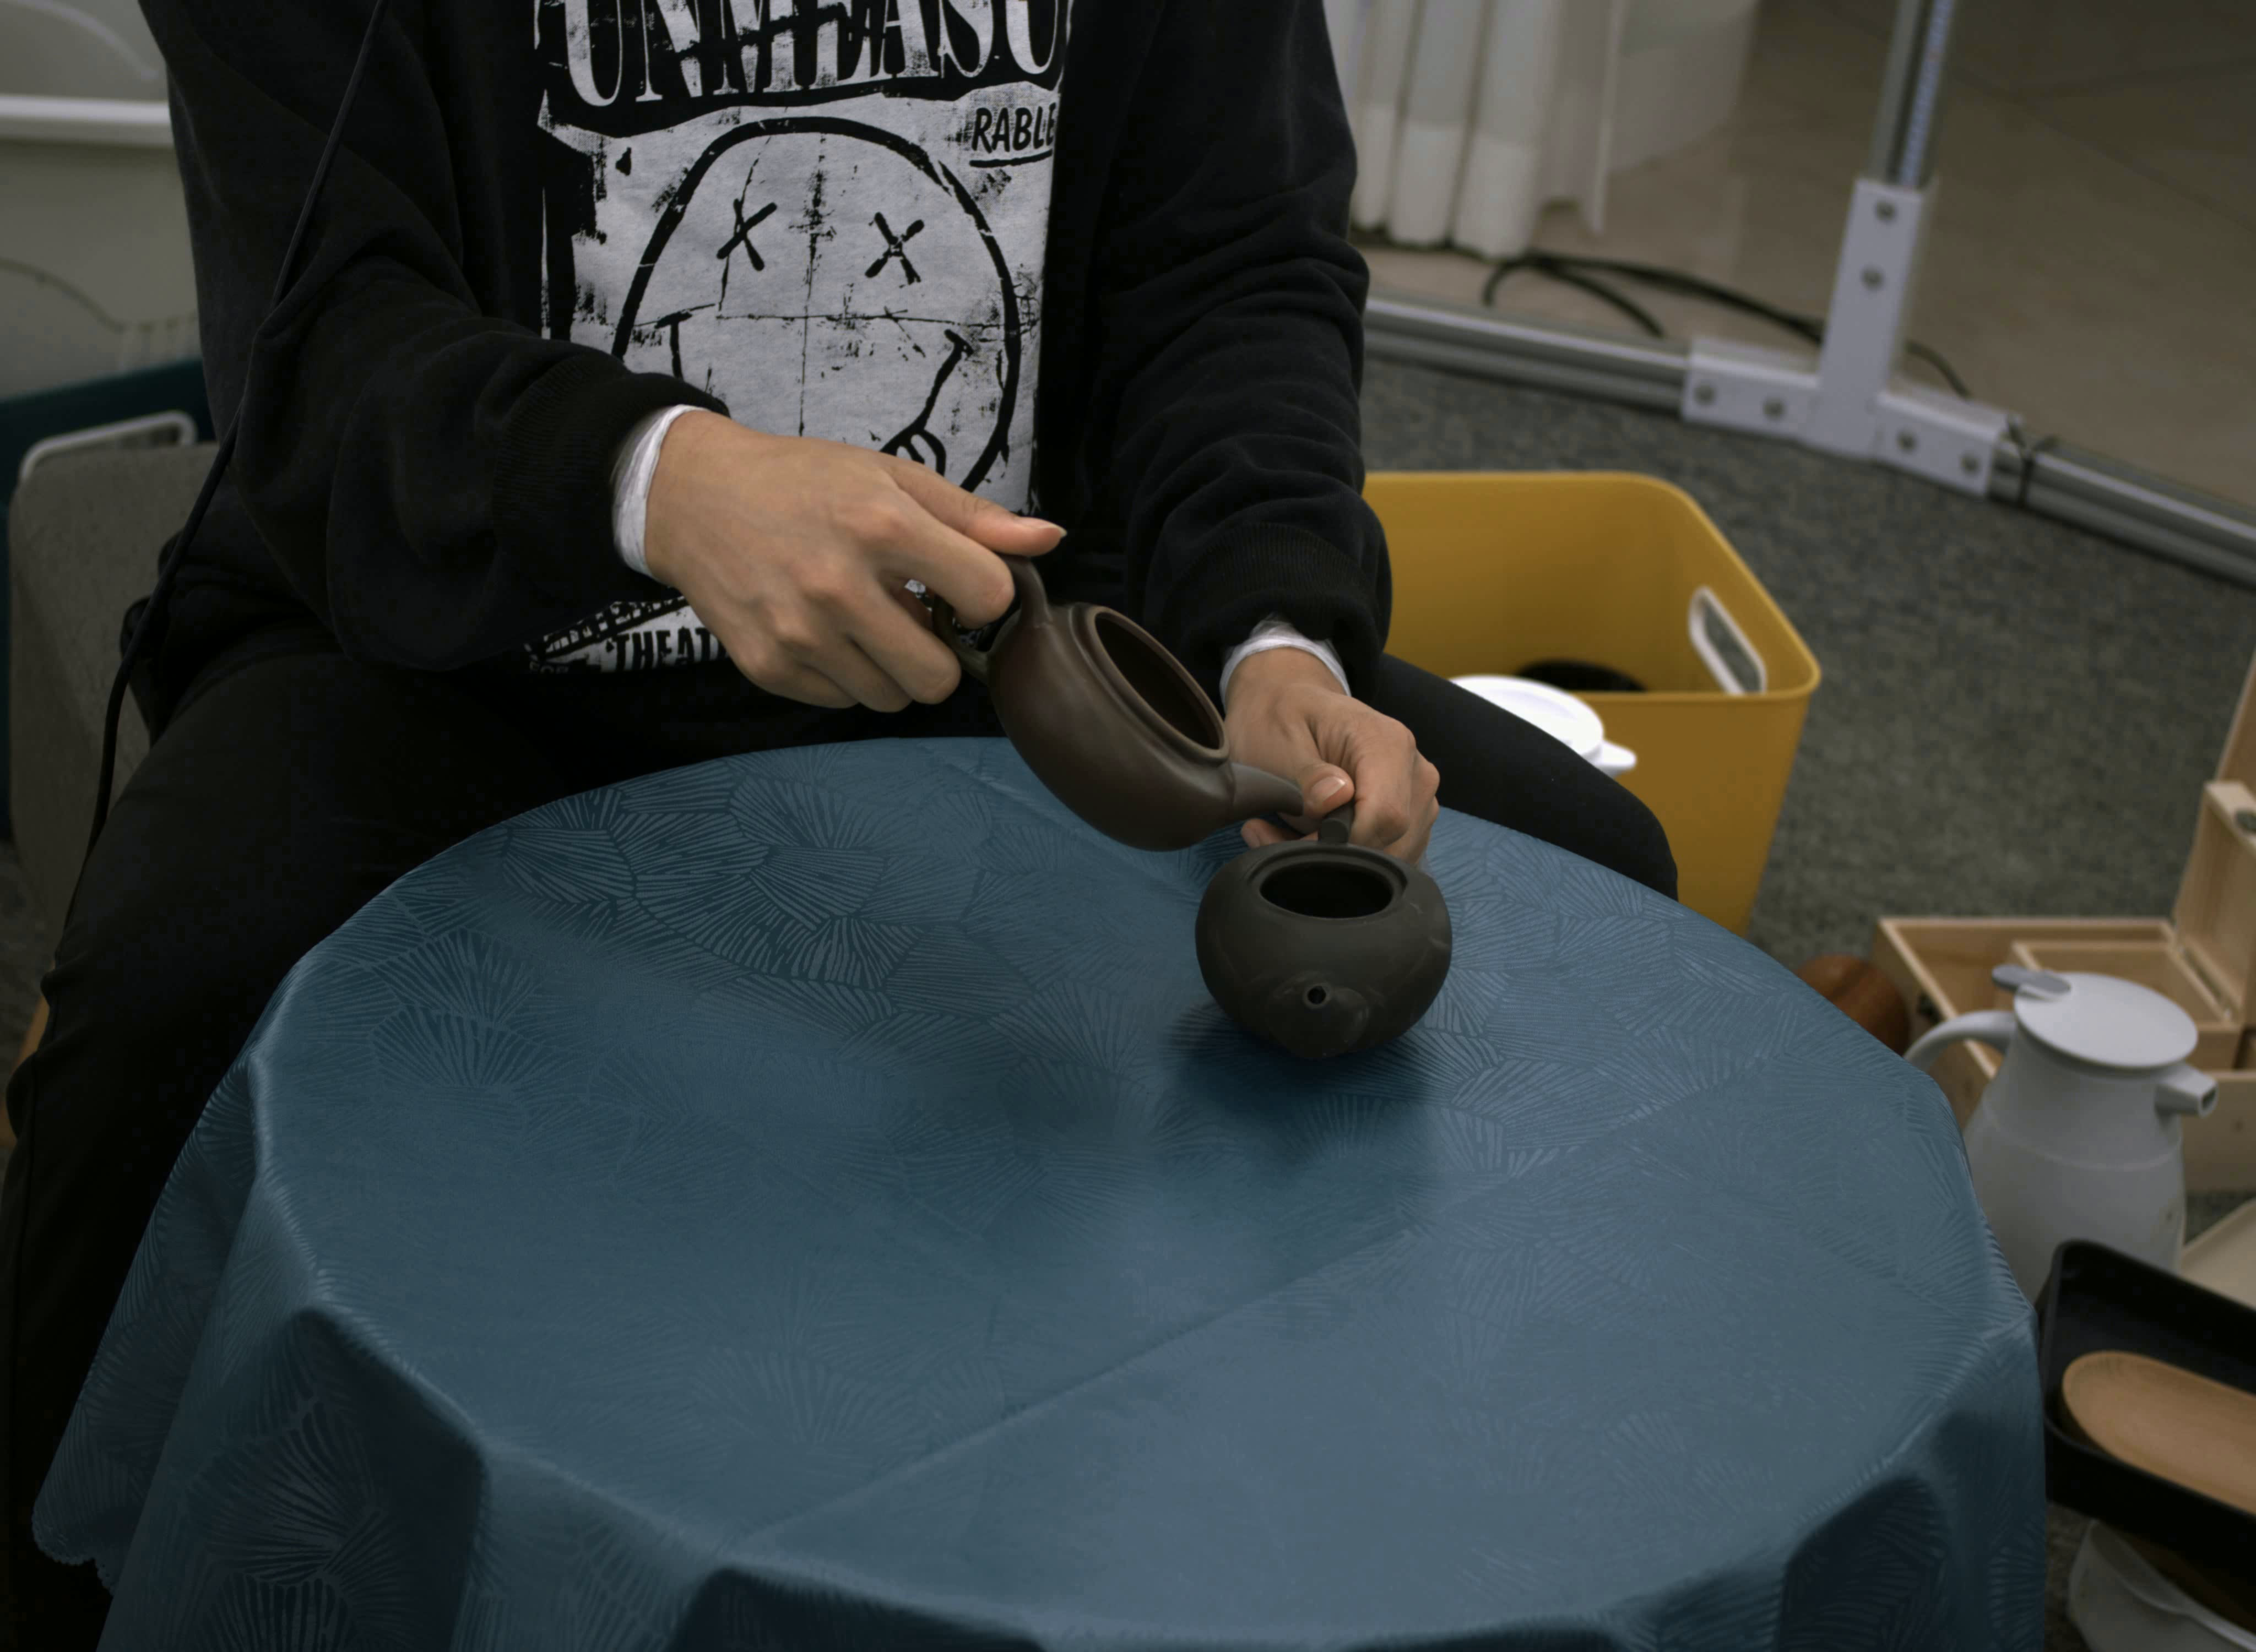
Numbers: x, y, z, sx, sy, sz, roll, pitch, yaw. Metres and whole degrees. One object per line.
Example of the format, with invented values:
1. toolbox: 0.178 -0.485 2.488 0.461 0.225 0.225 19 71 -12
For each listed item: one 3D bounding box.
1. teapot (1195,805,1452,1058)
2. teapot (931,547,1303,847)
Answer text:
1. teapot: 0.070 0.041 1.910 0.092 0.064 0.155 8 29 3
2. teapot: -0.008 -0.040 1.843 0.152 0.054 0.103 40 16 -25
